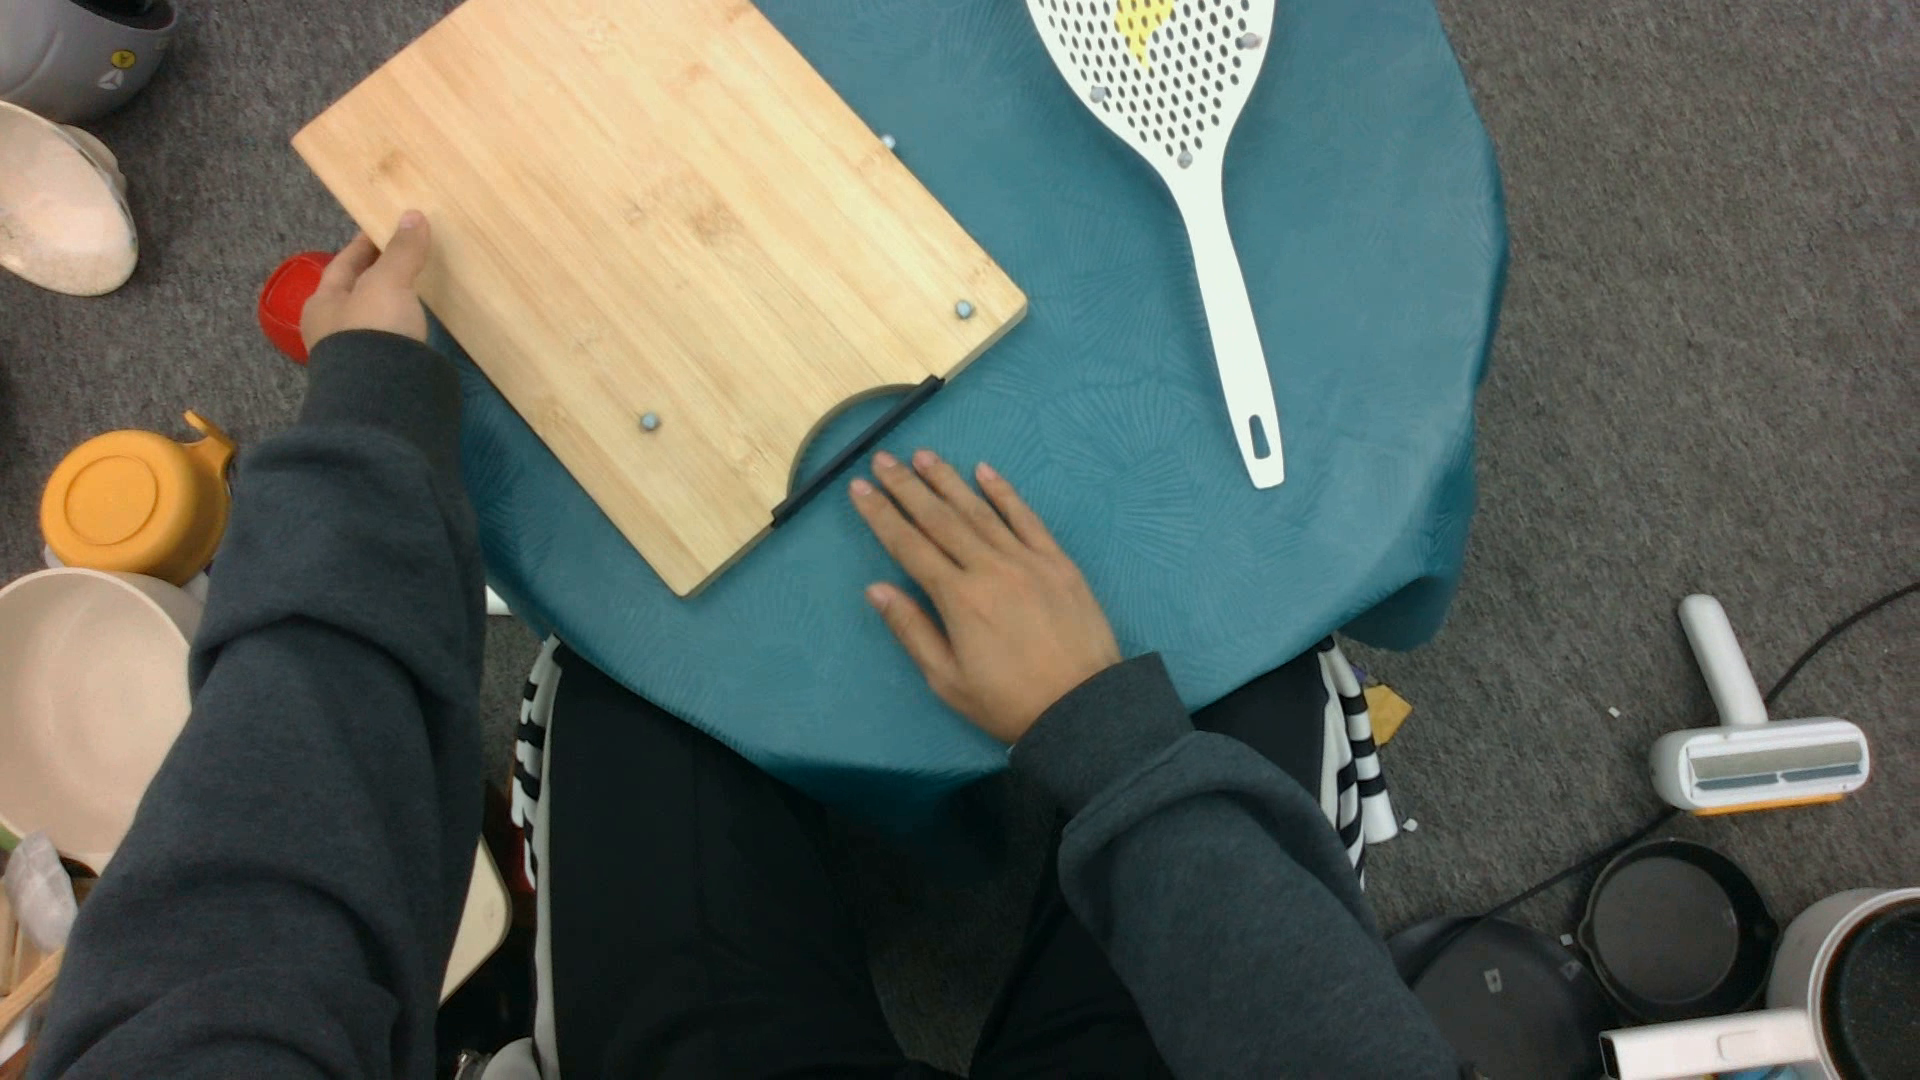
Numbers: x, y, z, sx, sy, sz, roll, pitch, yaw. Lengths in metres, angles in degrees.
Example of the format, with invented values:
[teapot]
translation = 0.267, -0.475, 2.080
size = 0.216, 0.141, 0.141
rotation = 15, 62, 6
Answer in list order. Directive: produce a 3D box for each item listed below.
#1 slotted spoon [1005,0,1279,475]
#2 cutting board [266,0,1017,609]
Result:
[slotted spoon]
translation = 0.112, -0.203, 0.731
size = 0.137, 0.050, 0.348
rotation = -13, 79, -4
[cutting board]
translation = -0.172, -0.171, 0.742
size = 0.251, 0.023, 0.349
rotation = -43, 81, -6
